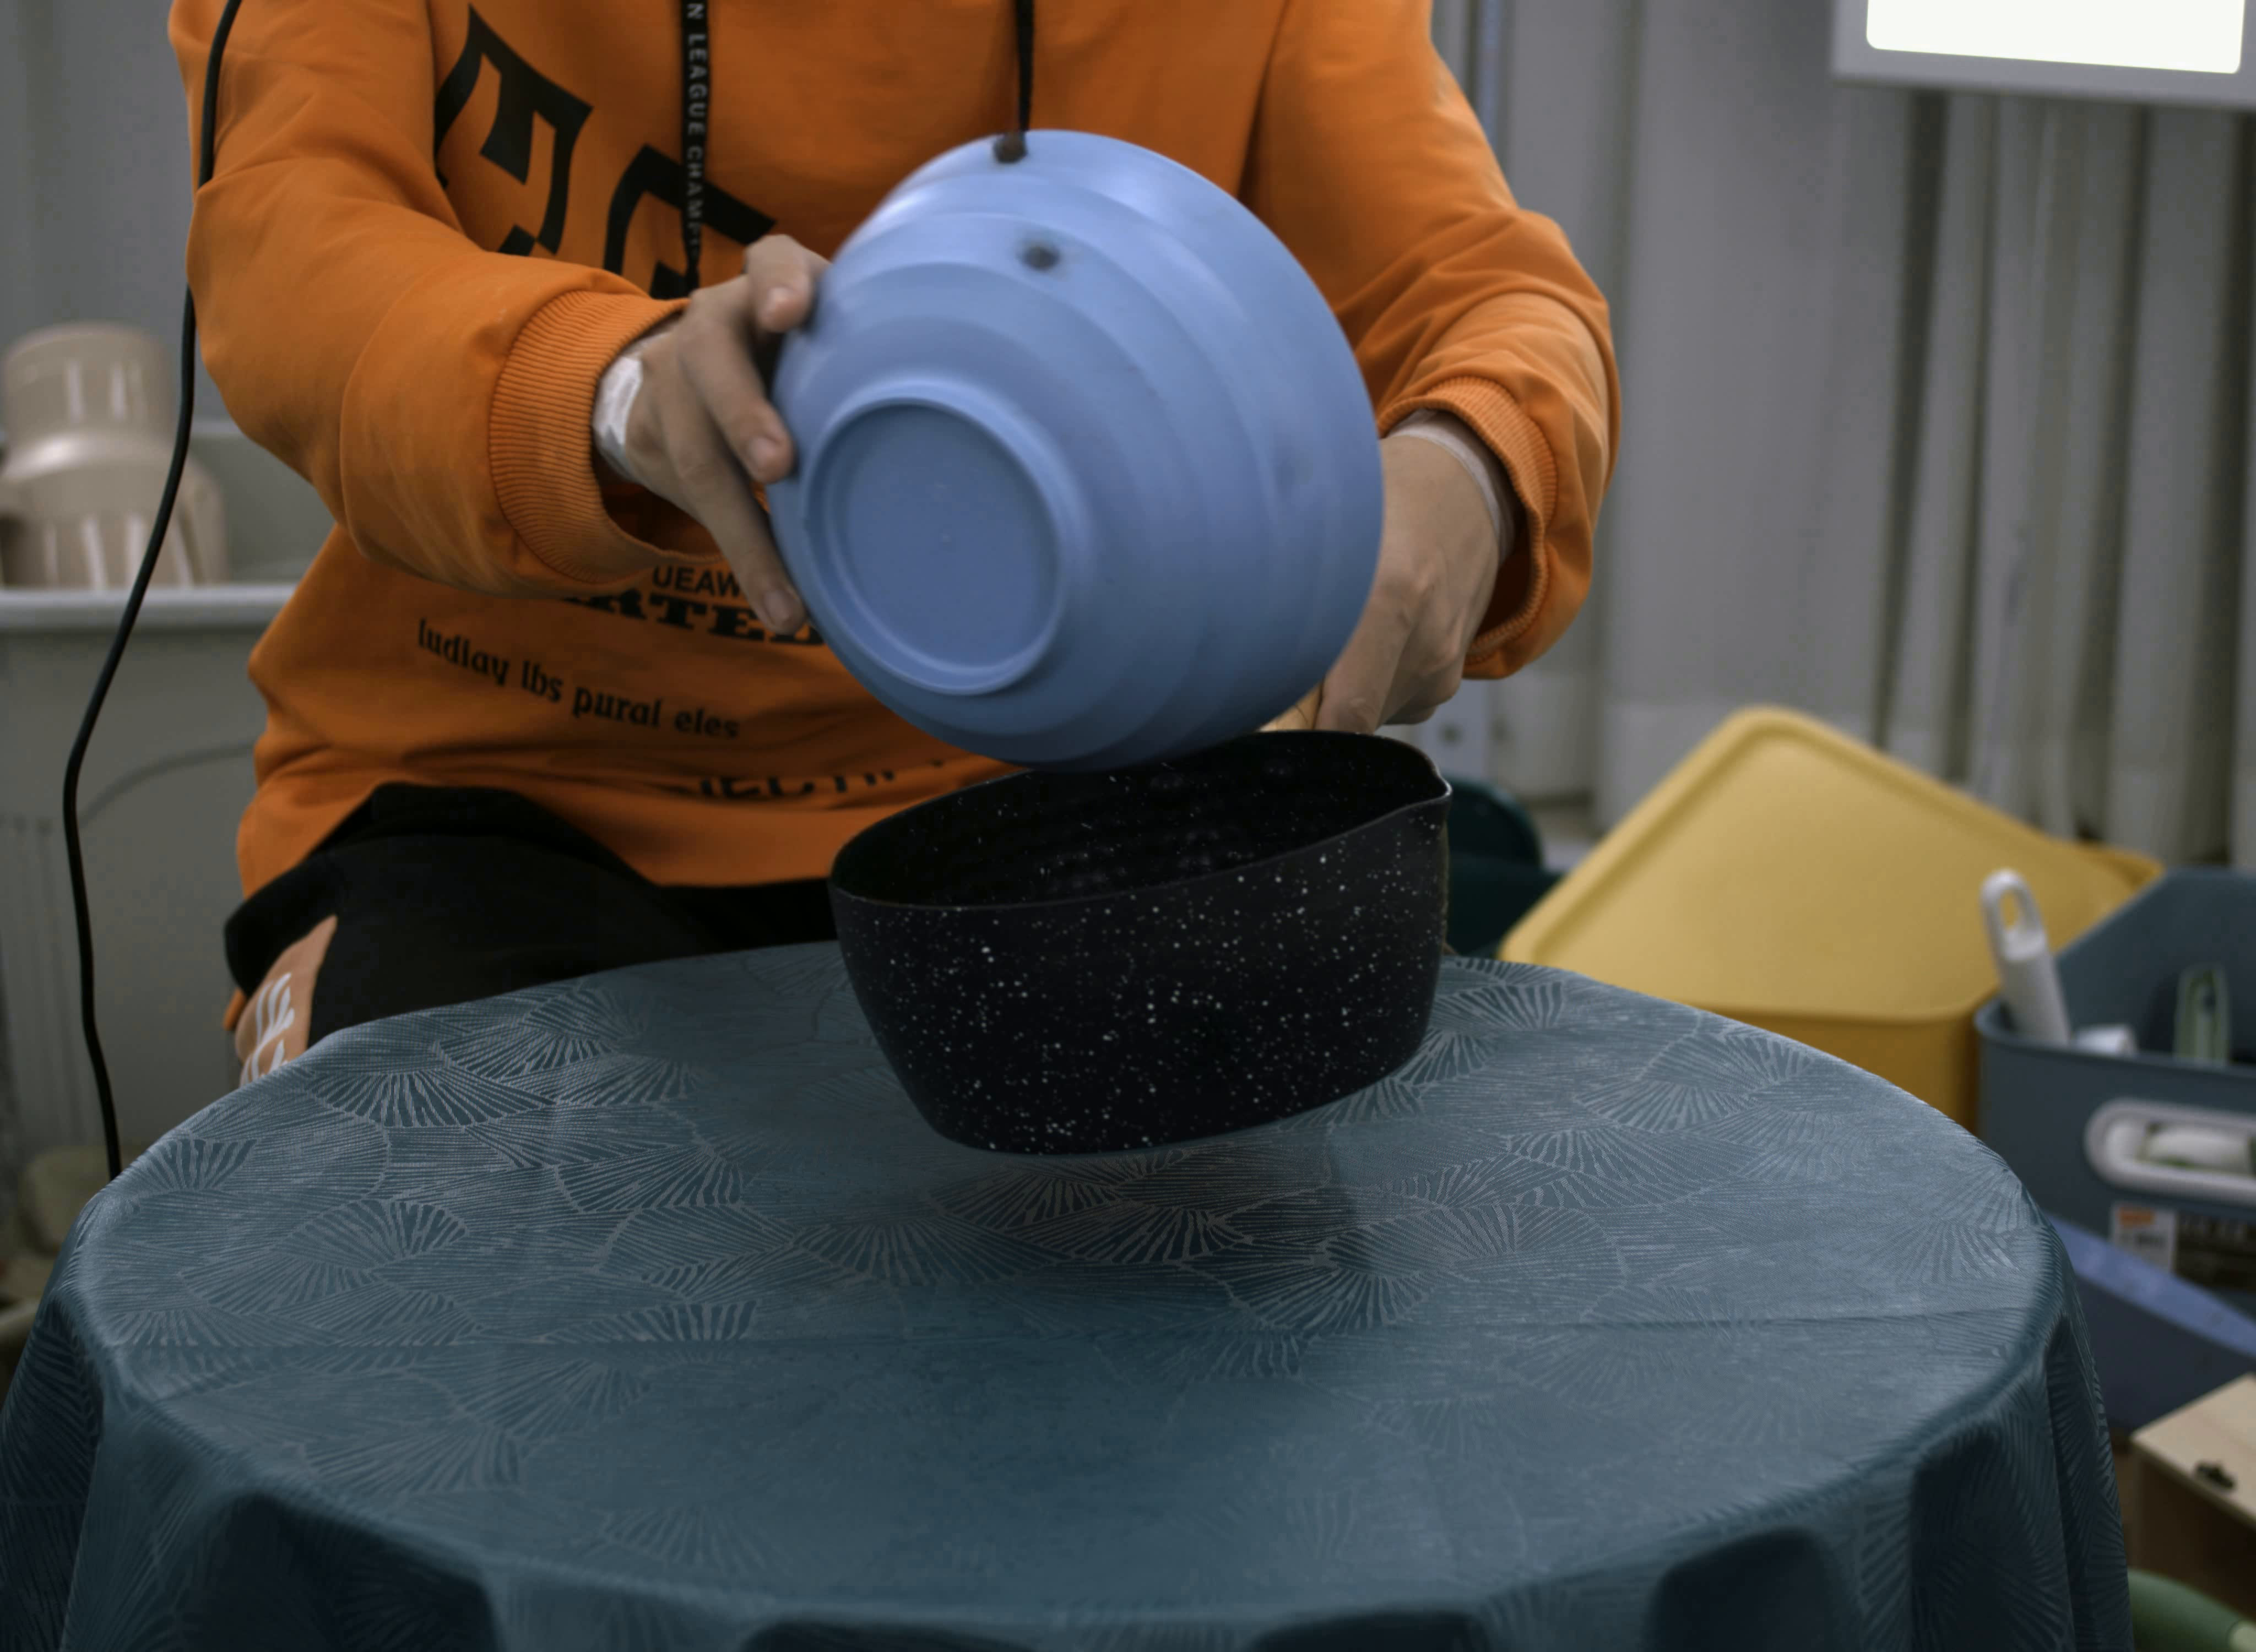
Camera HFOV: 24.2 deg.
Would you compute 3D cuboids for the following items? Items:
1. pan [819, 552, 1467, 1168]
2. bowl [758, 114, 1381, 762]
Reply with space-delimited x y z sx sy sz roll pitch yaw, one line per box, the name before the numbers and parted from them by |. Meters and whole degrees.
pan | 0.029 0.004 1.639 0.206 0.109 0.342 -6 15 19
bowl | -0.034 -0.099 1.531 0.194 0.198 0.095 10 29 29
